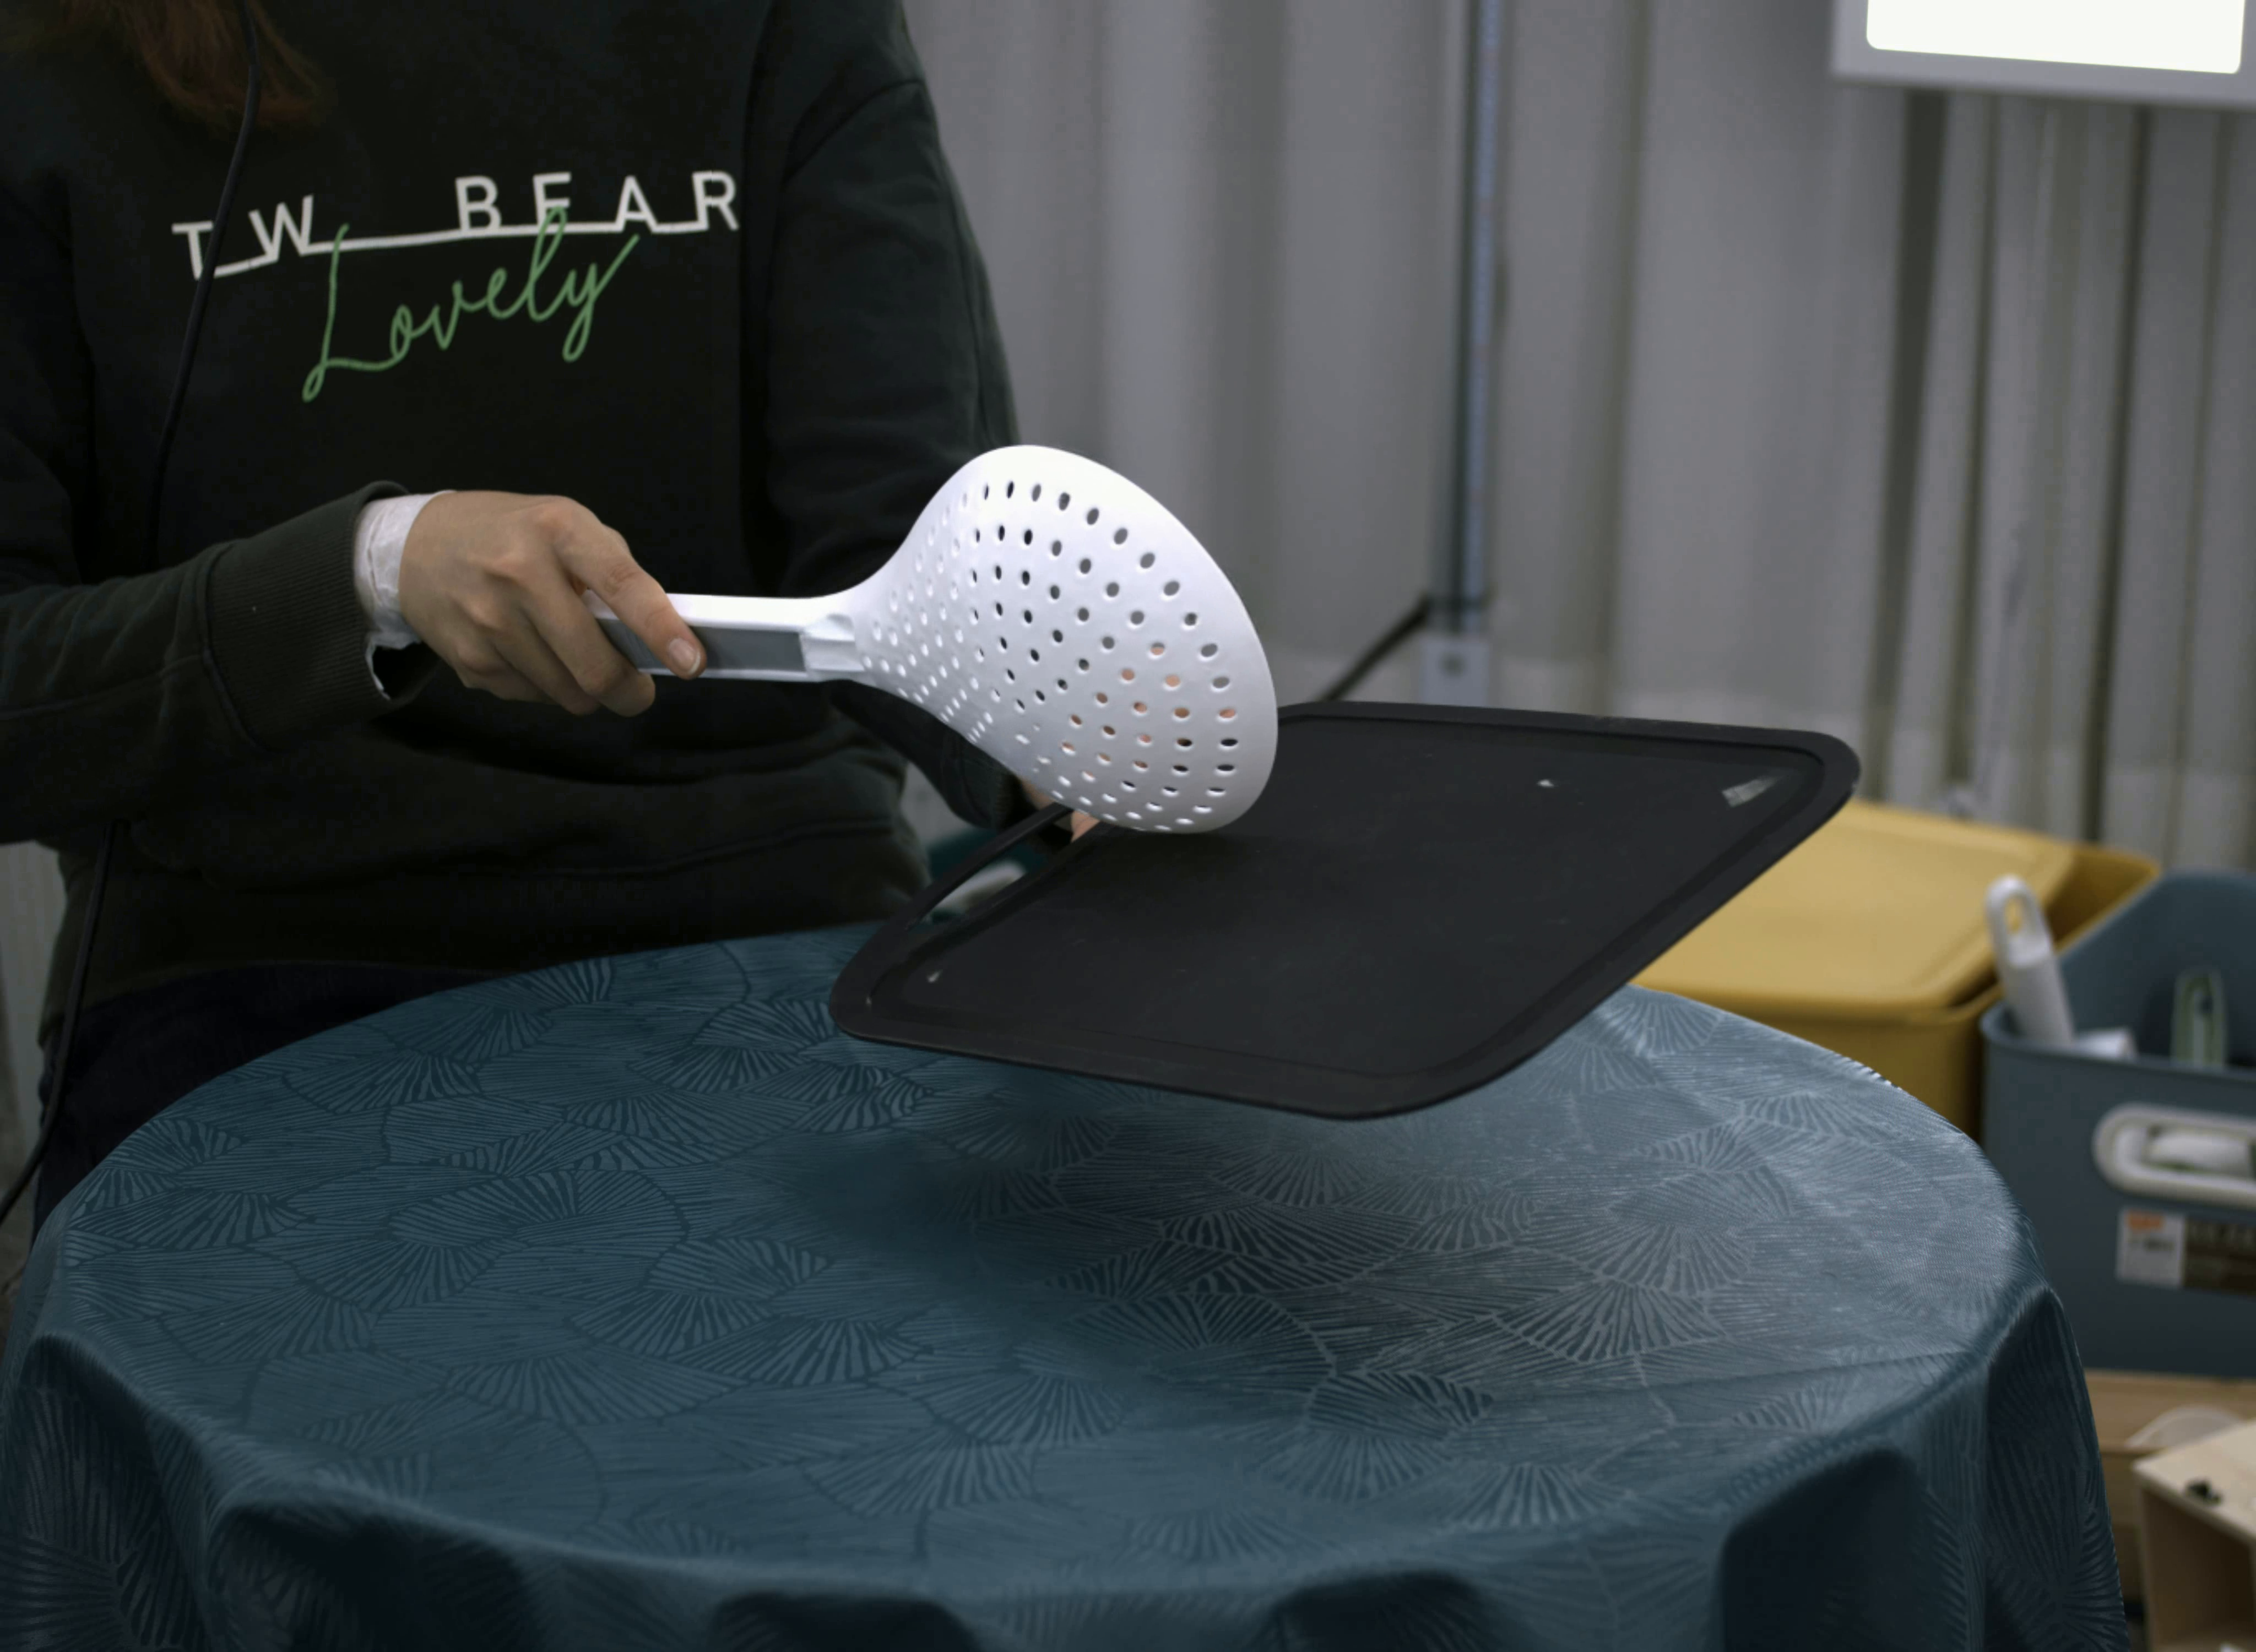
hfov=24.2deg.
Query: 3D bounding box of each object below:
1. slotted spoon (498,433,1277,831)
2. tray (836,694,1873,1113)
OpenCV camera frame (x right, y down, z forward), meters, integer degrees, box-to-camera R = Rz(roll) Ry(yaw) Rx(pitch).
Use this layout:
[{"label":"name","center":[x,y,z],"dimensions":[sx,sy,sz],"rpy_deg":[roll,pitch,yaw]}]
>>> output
[{"label":"slotted spoon","center":[-0.088,-0.061,1.682],"dimensions":[0.046,0.137,0.345],"rpy_deg":[-35,27,-33]},{"label":"tray","center":[0.055,0.017,1.563],"dimensions":[0.211,0.010,0.321],"rpy_deg":[-36,25,-31]}]
